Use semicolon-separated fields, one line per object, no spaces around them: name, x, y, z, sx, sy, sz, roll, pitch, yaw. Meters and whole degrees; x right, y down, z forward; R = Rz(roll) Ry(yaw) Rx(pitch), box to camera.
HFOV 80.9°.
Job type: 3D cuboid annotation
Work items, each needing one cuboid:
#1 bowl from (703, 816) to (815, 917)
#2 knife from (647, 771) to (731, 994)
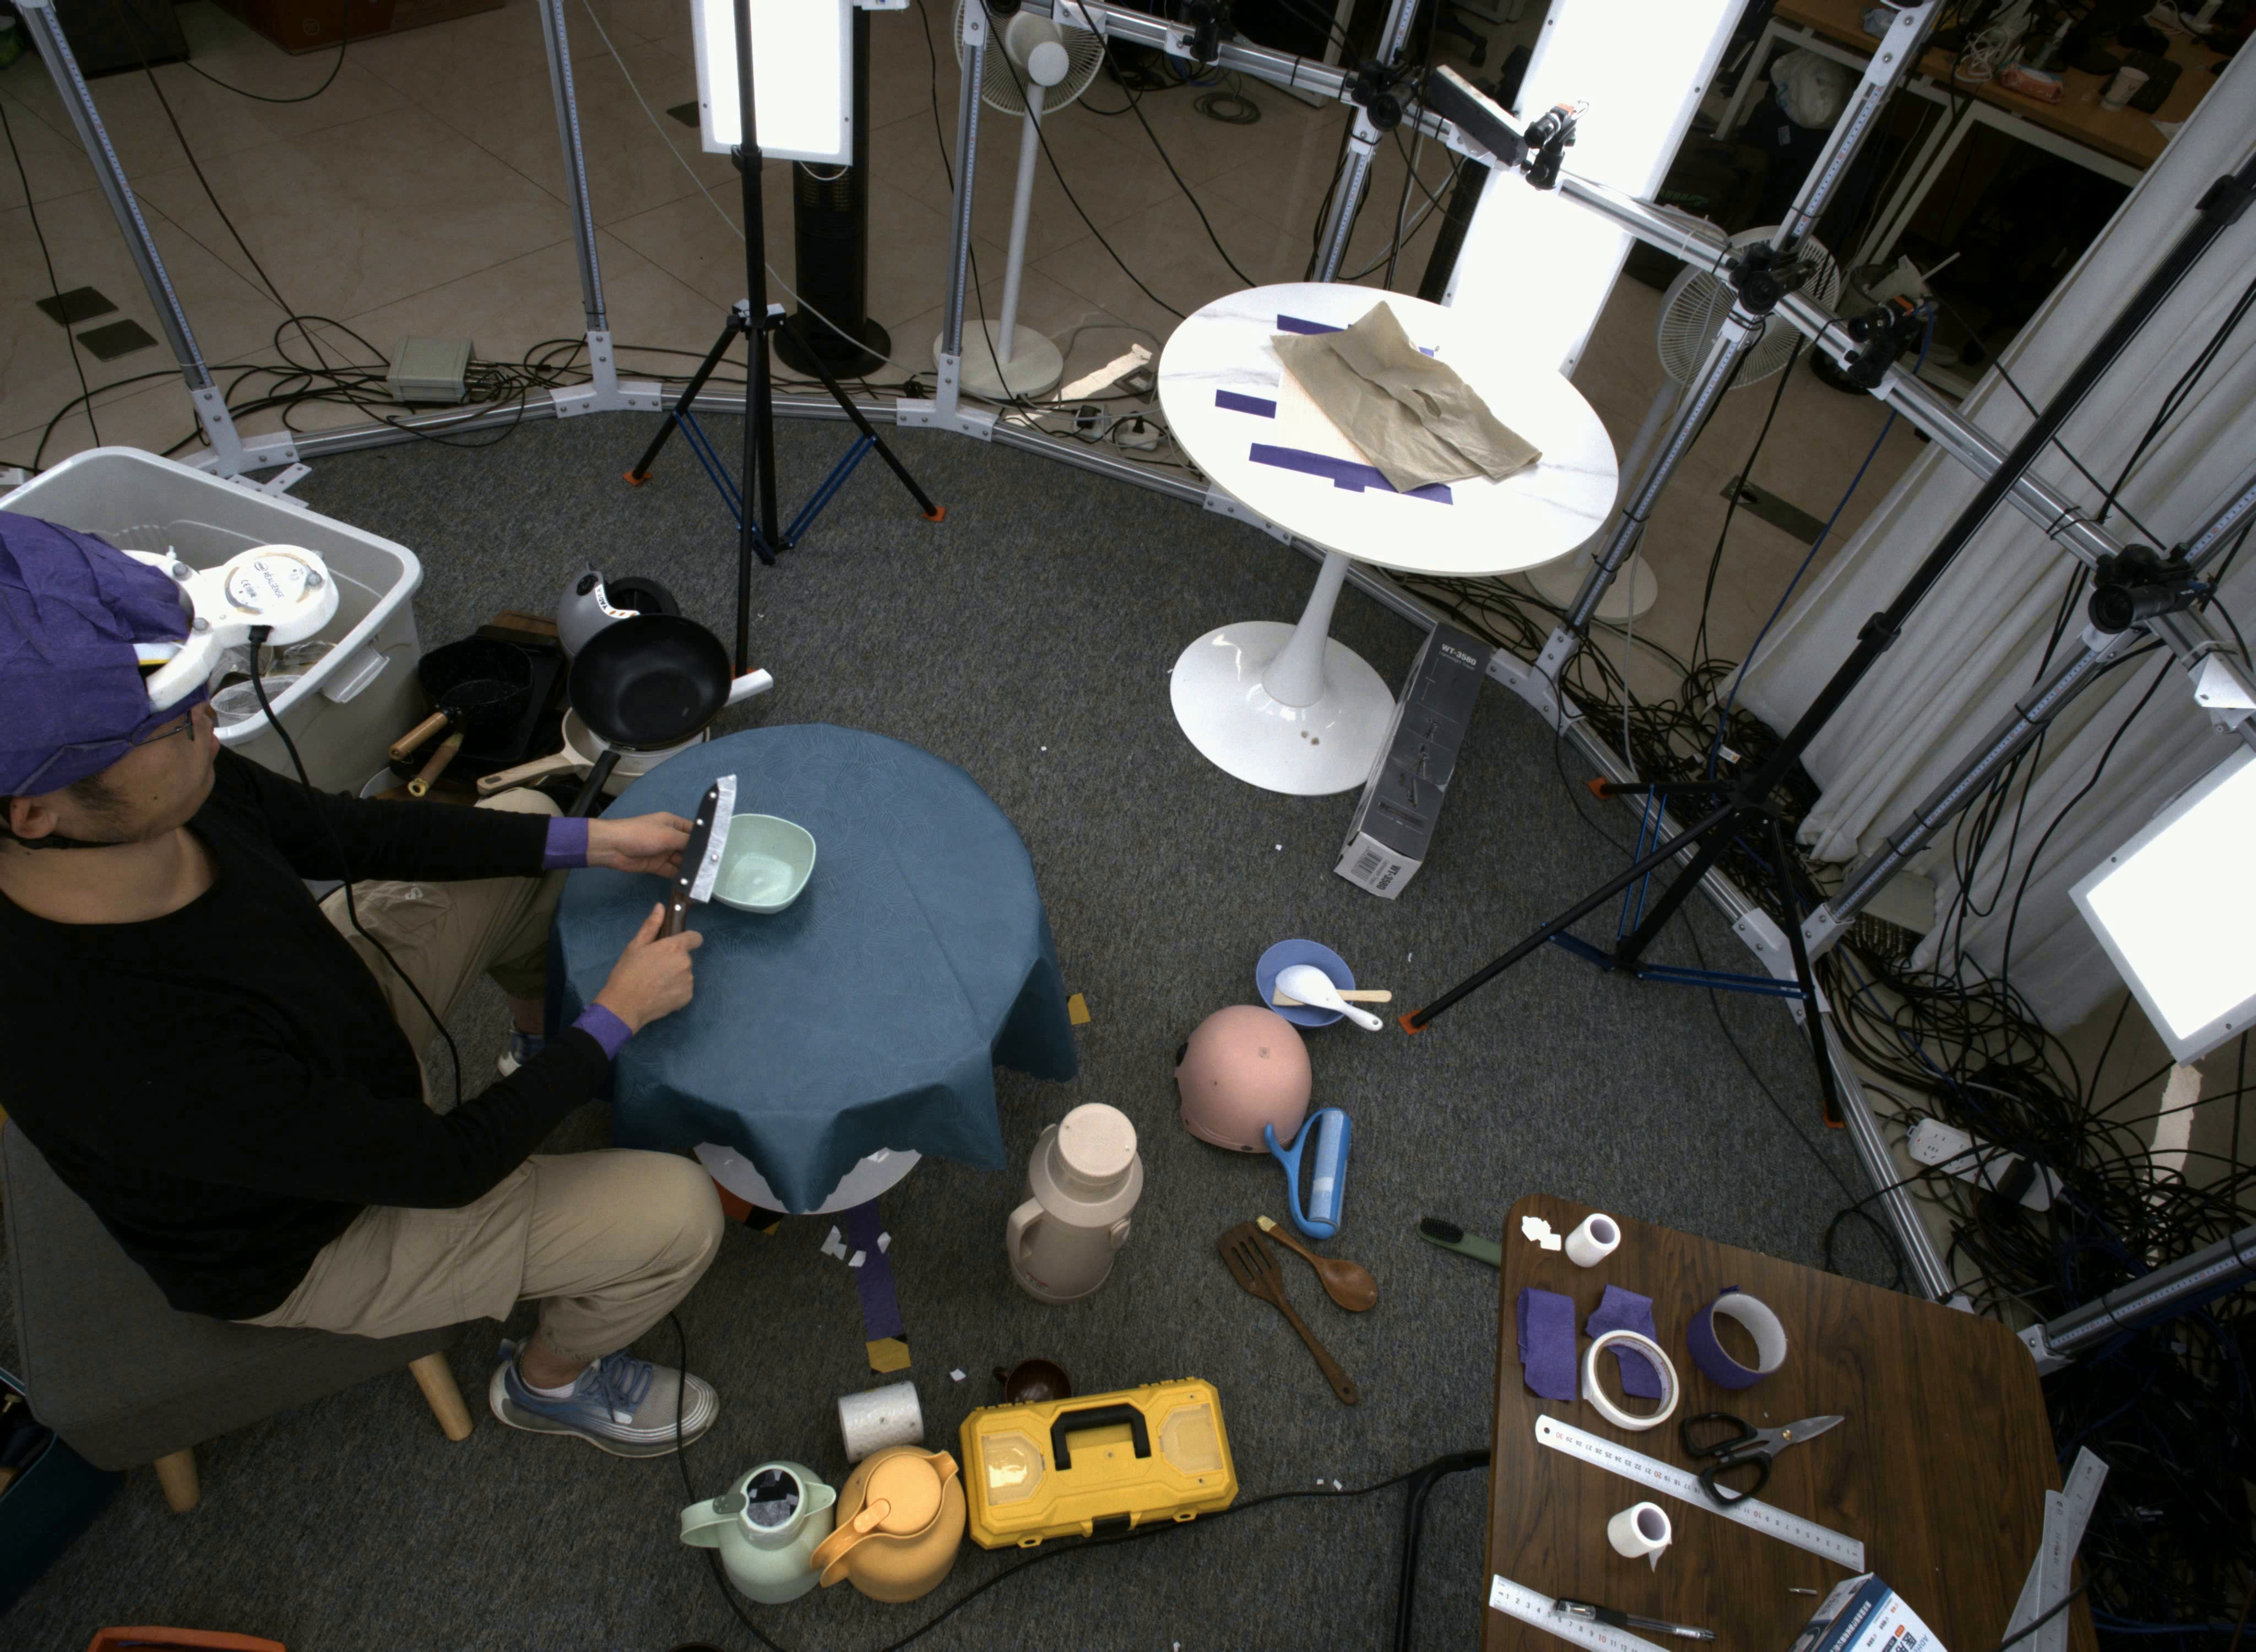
bowl;-0.467;0.059;1.630;0.151;0.060;0.148;8;50;-8
knife;-0.521;0.061;1.535;0.051;0.020;0.287;21;67;-21
